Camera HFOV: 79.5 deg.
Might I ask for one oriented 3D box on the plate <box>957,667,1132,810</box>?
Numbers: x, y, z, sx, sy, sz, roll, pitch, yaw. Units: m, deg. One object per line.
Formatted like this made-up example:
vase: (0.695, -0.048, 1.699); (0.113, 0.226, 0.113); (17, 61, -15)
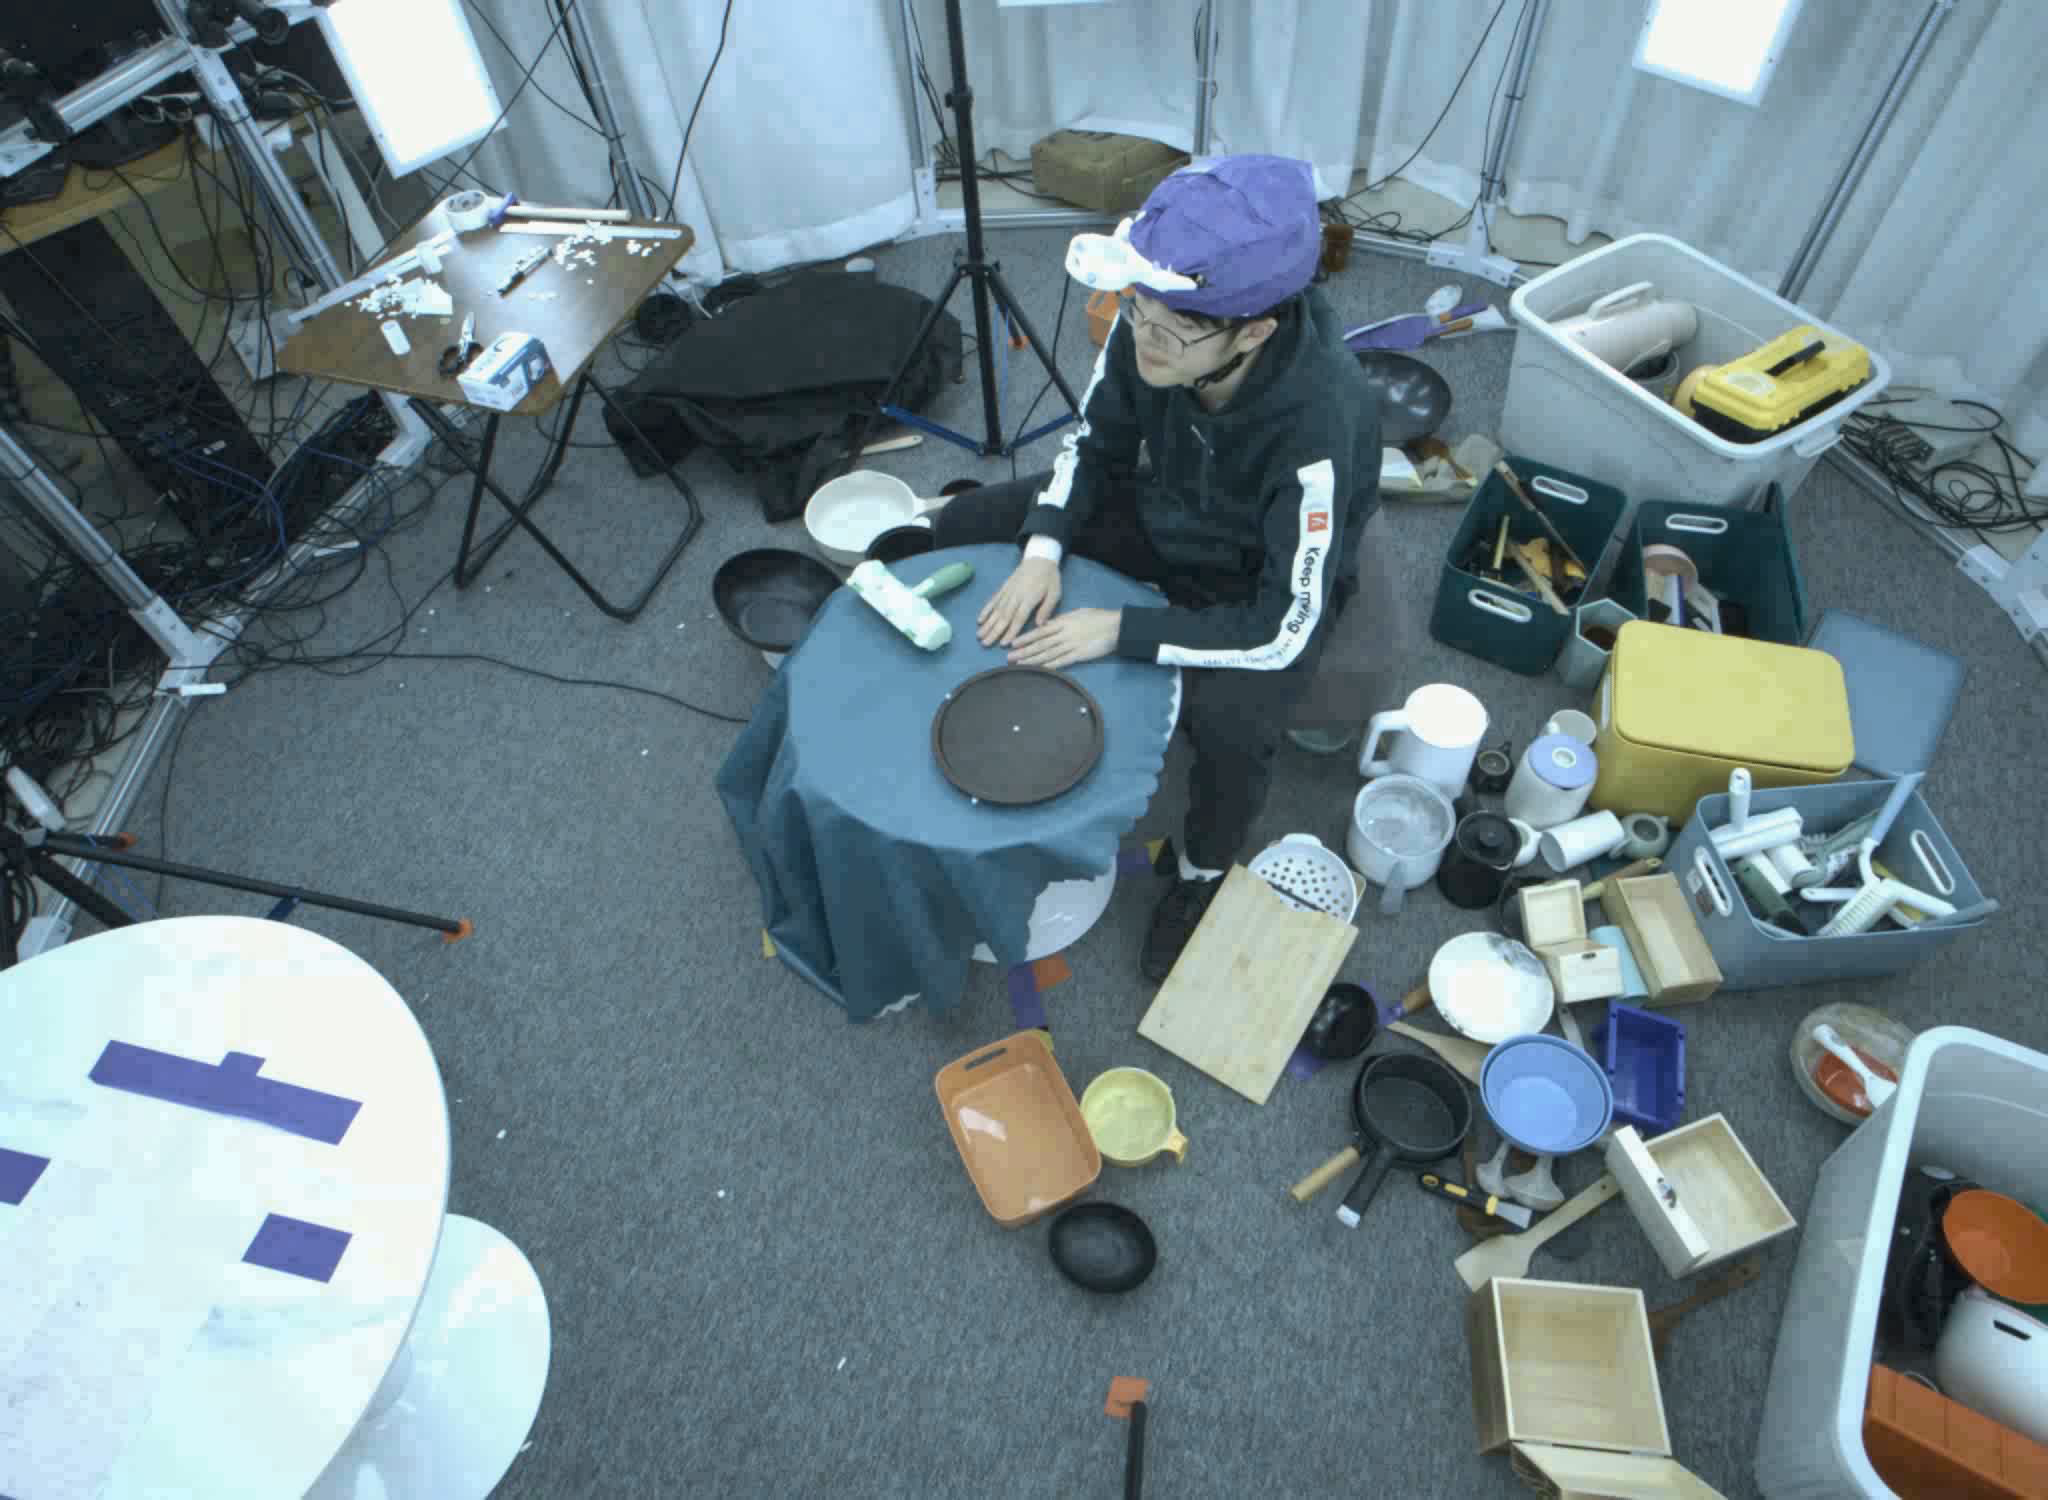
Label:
plate: (0.030, -0.017, 1.779); (0.254, 0.029, 0.252); (-1, 54, 3)

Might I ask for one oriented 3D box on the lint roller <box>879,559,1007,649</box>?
lint roller: (-0.104, -0.264, 1.925); (0.184, 0.083, 0.195); (-37, 61, -18)
